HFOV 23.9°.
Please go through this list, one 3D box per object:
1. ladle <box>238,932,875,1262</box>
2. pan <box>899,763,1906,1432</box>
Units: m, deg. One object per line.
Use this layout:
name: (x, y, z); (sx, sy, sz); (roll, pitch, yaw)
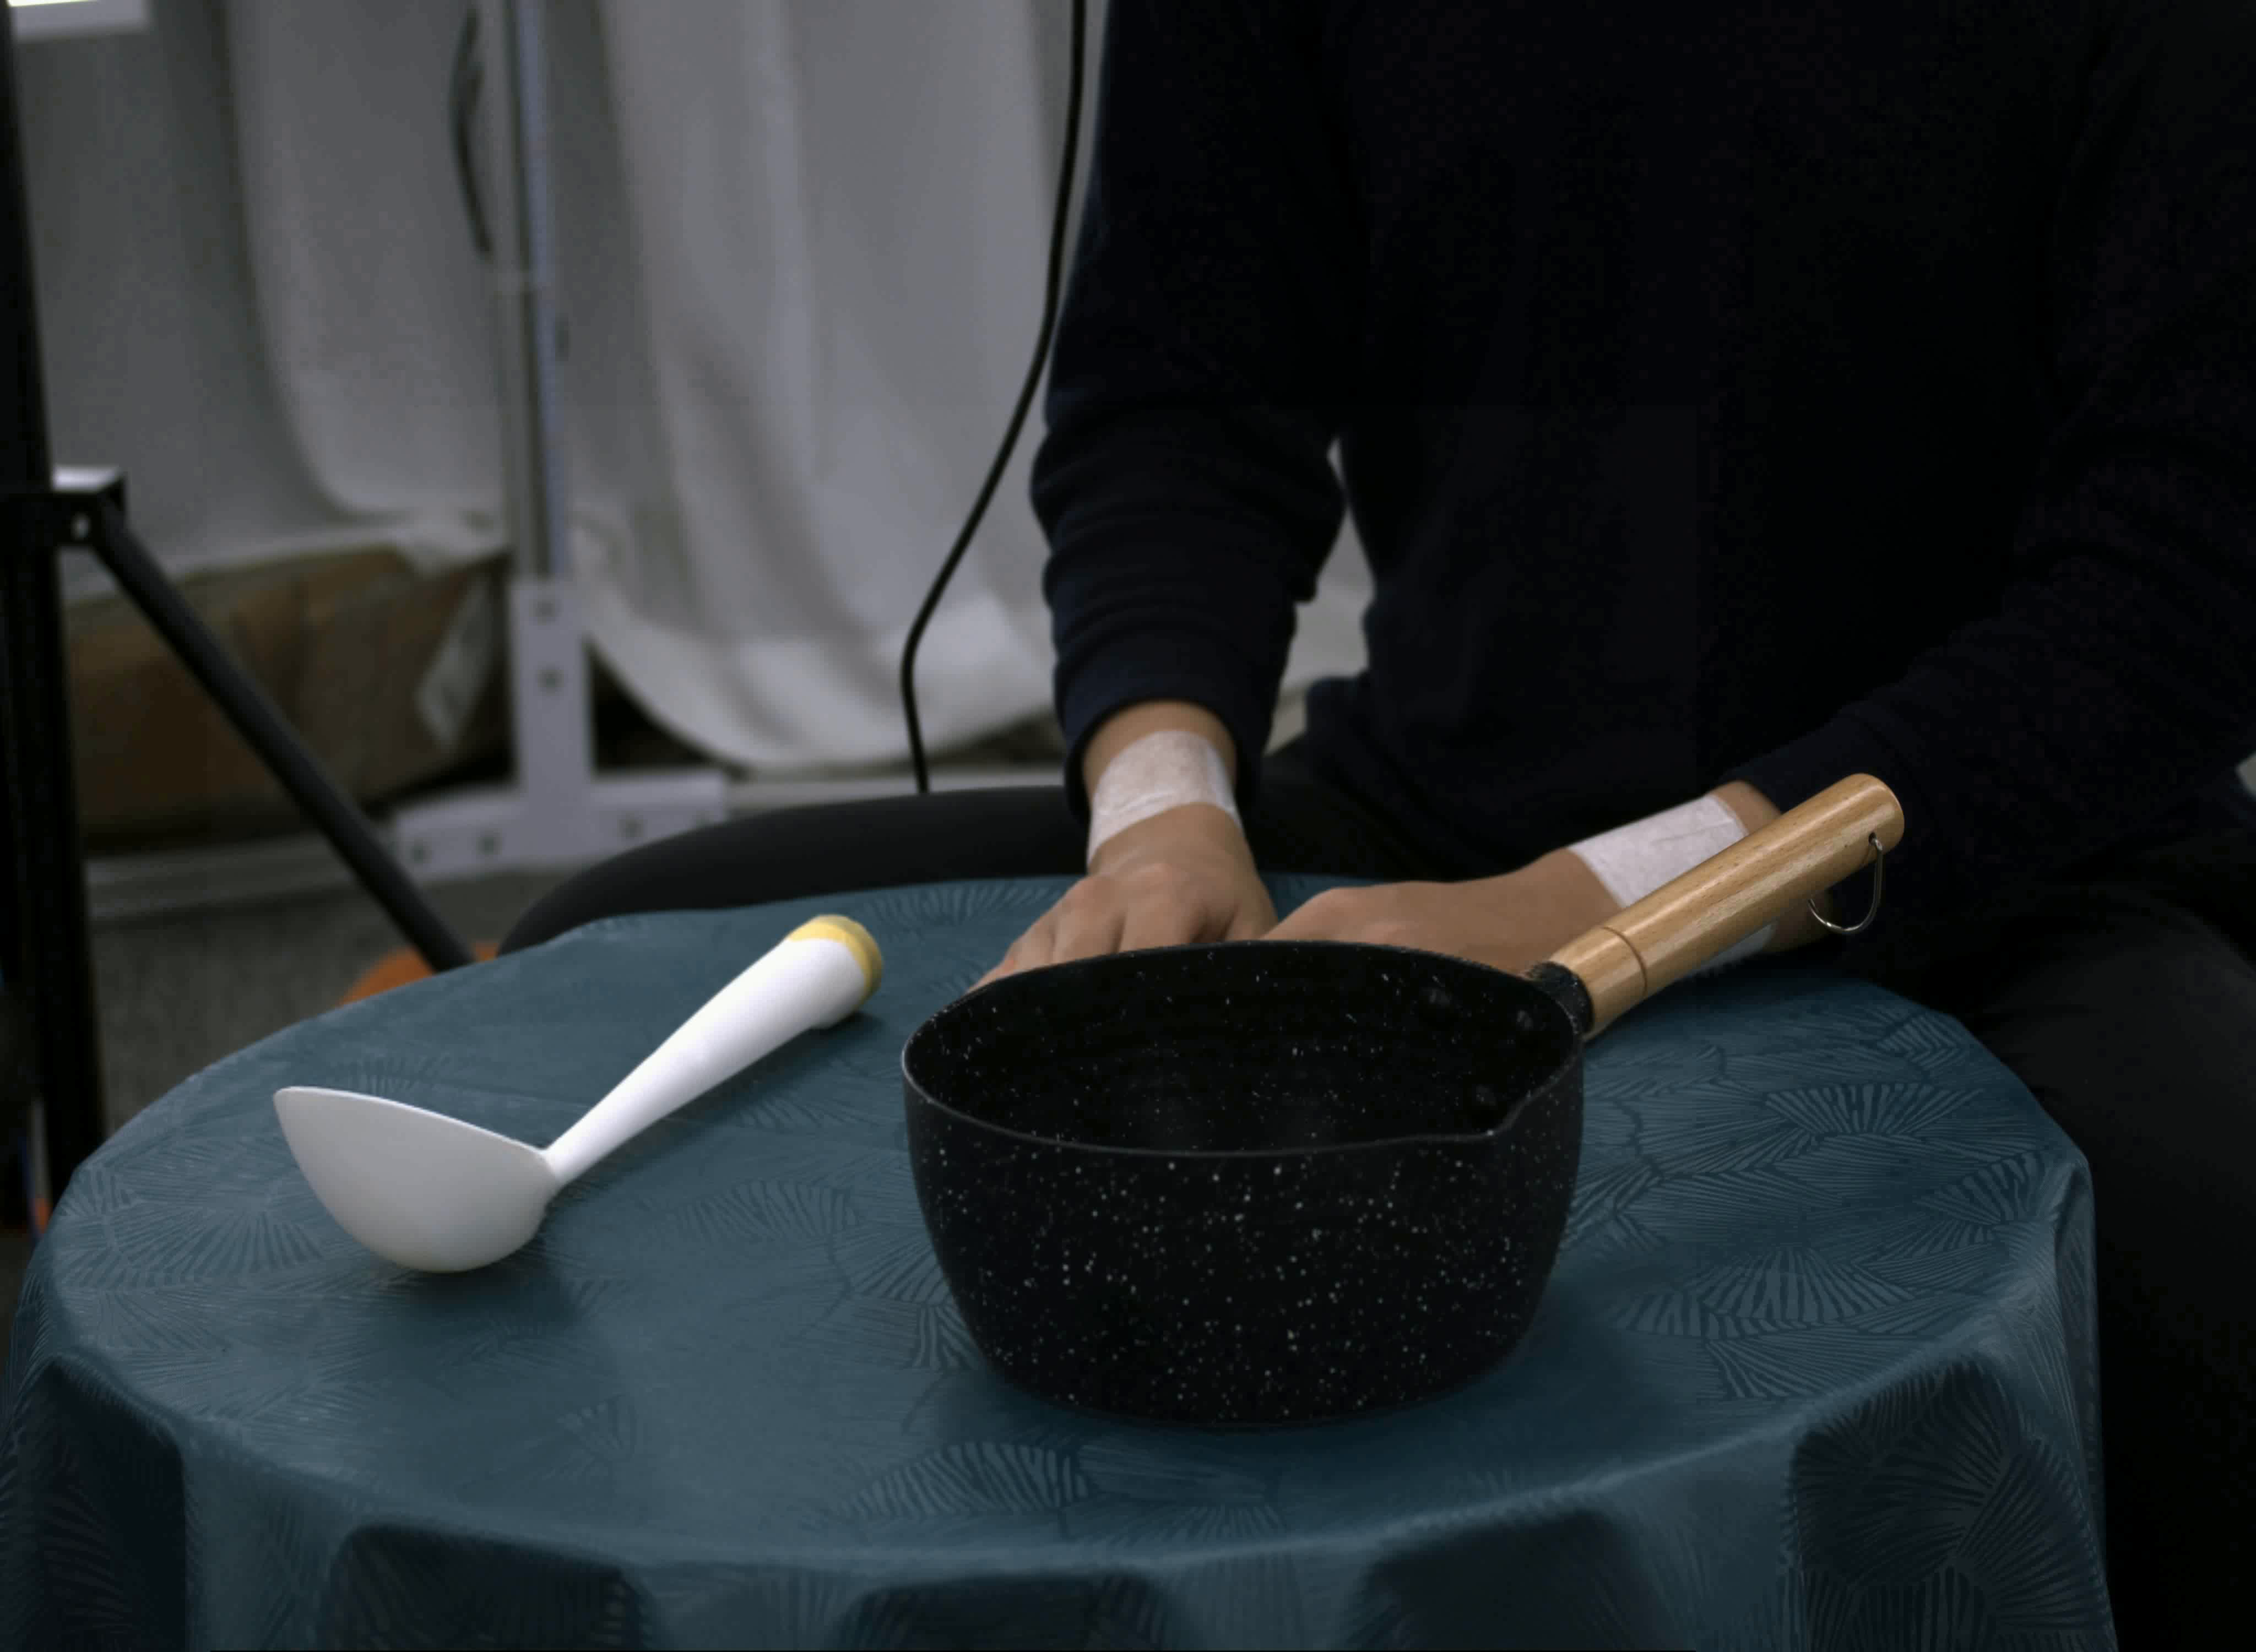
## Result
ladle: (-0.159, 0.067, 1.612); (0.091, 0.070, 0.288); (1, 15, 27)
pan: (0.092, 0.070, 1.477); (0.335, 0.108, 0.212); (-16, 20, -36)
